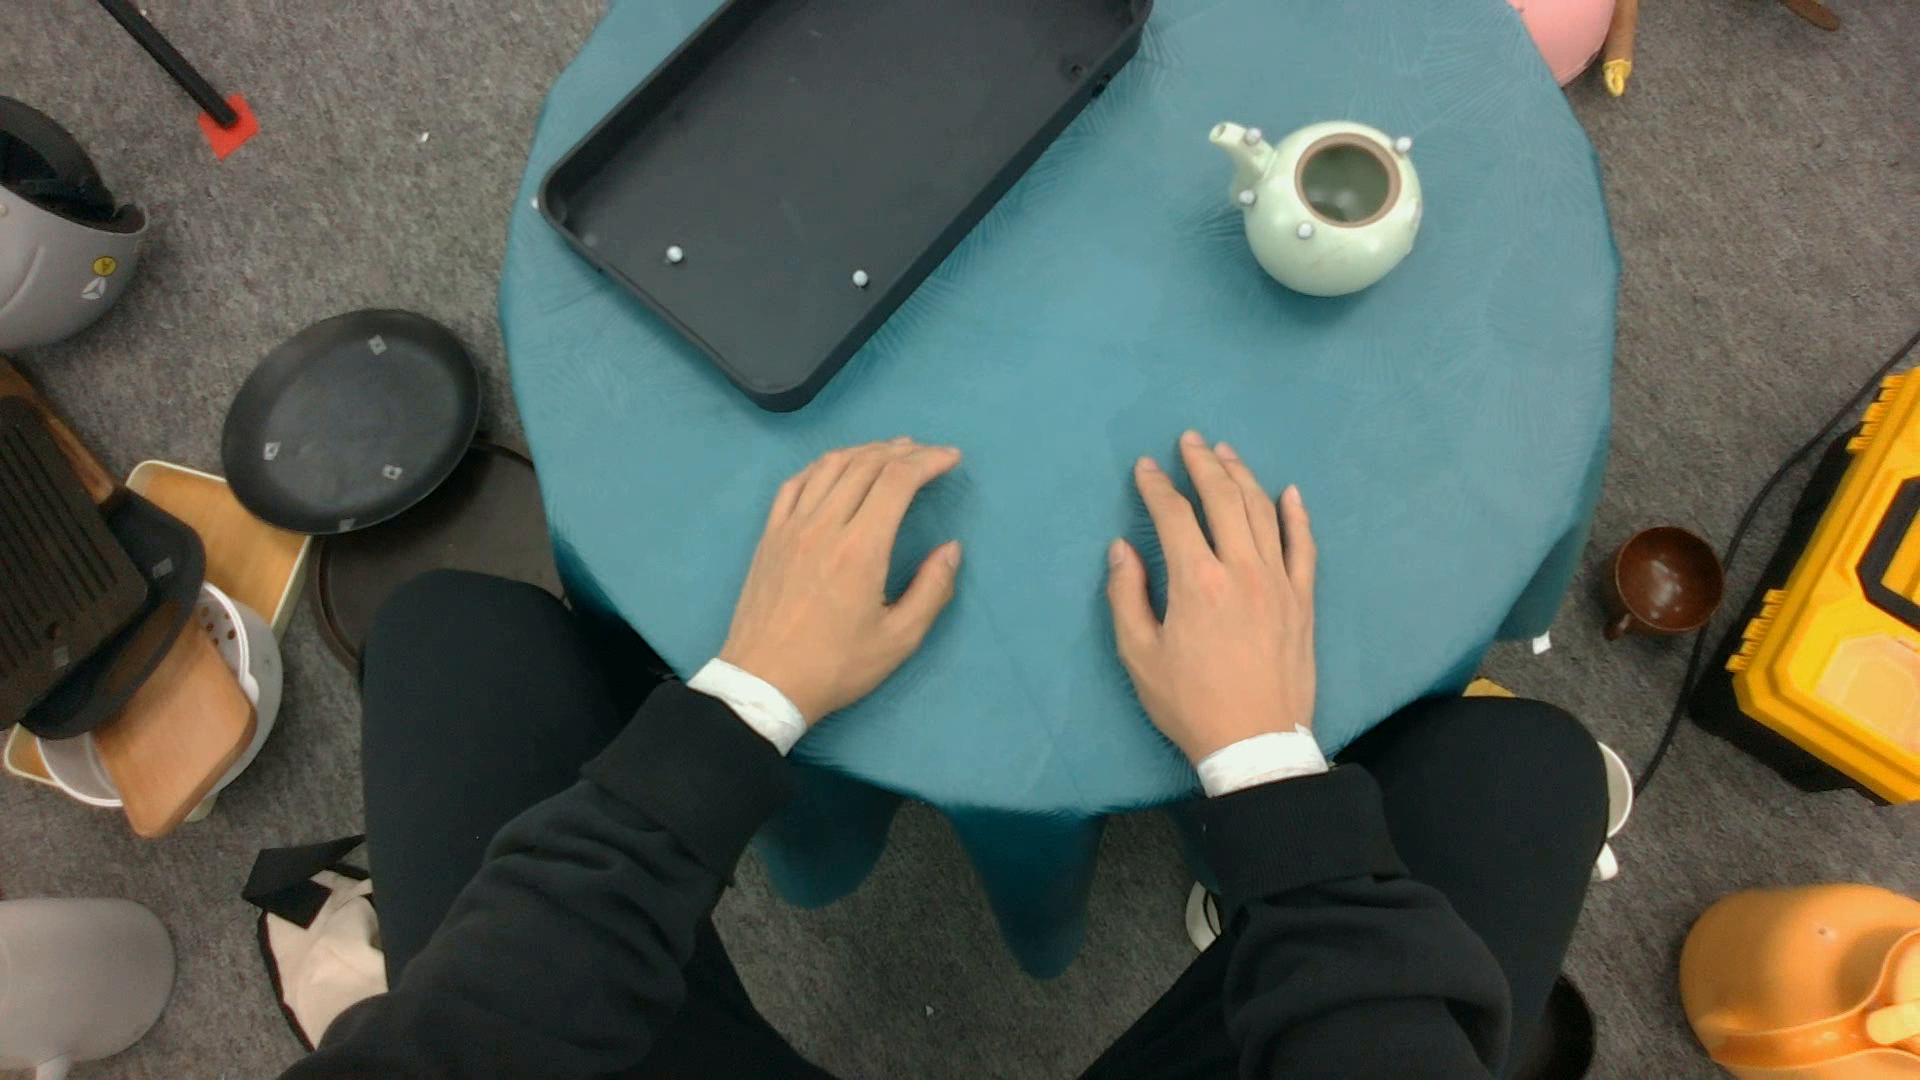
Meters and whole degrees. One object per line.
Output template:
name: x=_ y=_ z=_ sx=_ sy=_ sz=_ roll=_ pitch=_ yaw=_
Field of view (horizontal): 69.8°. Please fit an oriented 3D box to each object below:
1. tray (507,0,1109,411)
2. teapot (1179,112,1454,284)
tray: x=-0.077 y=-0.235 z=0.752 sx=0.184 sy=0.037 sz=0.318 roll=37 pitch=77 yaw=9
teapot: x=0.179 y=-0.178 z=0.716 sx=0.144 sy=0.074 sz=0.088 roll=22 pitch=76 yaw=8
